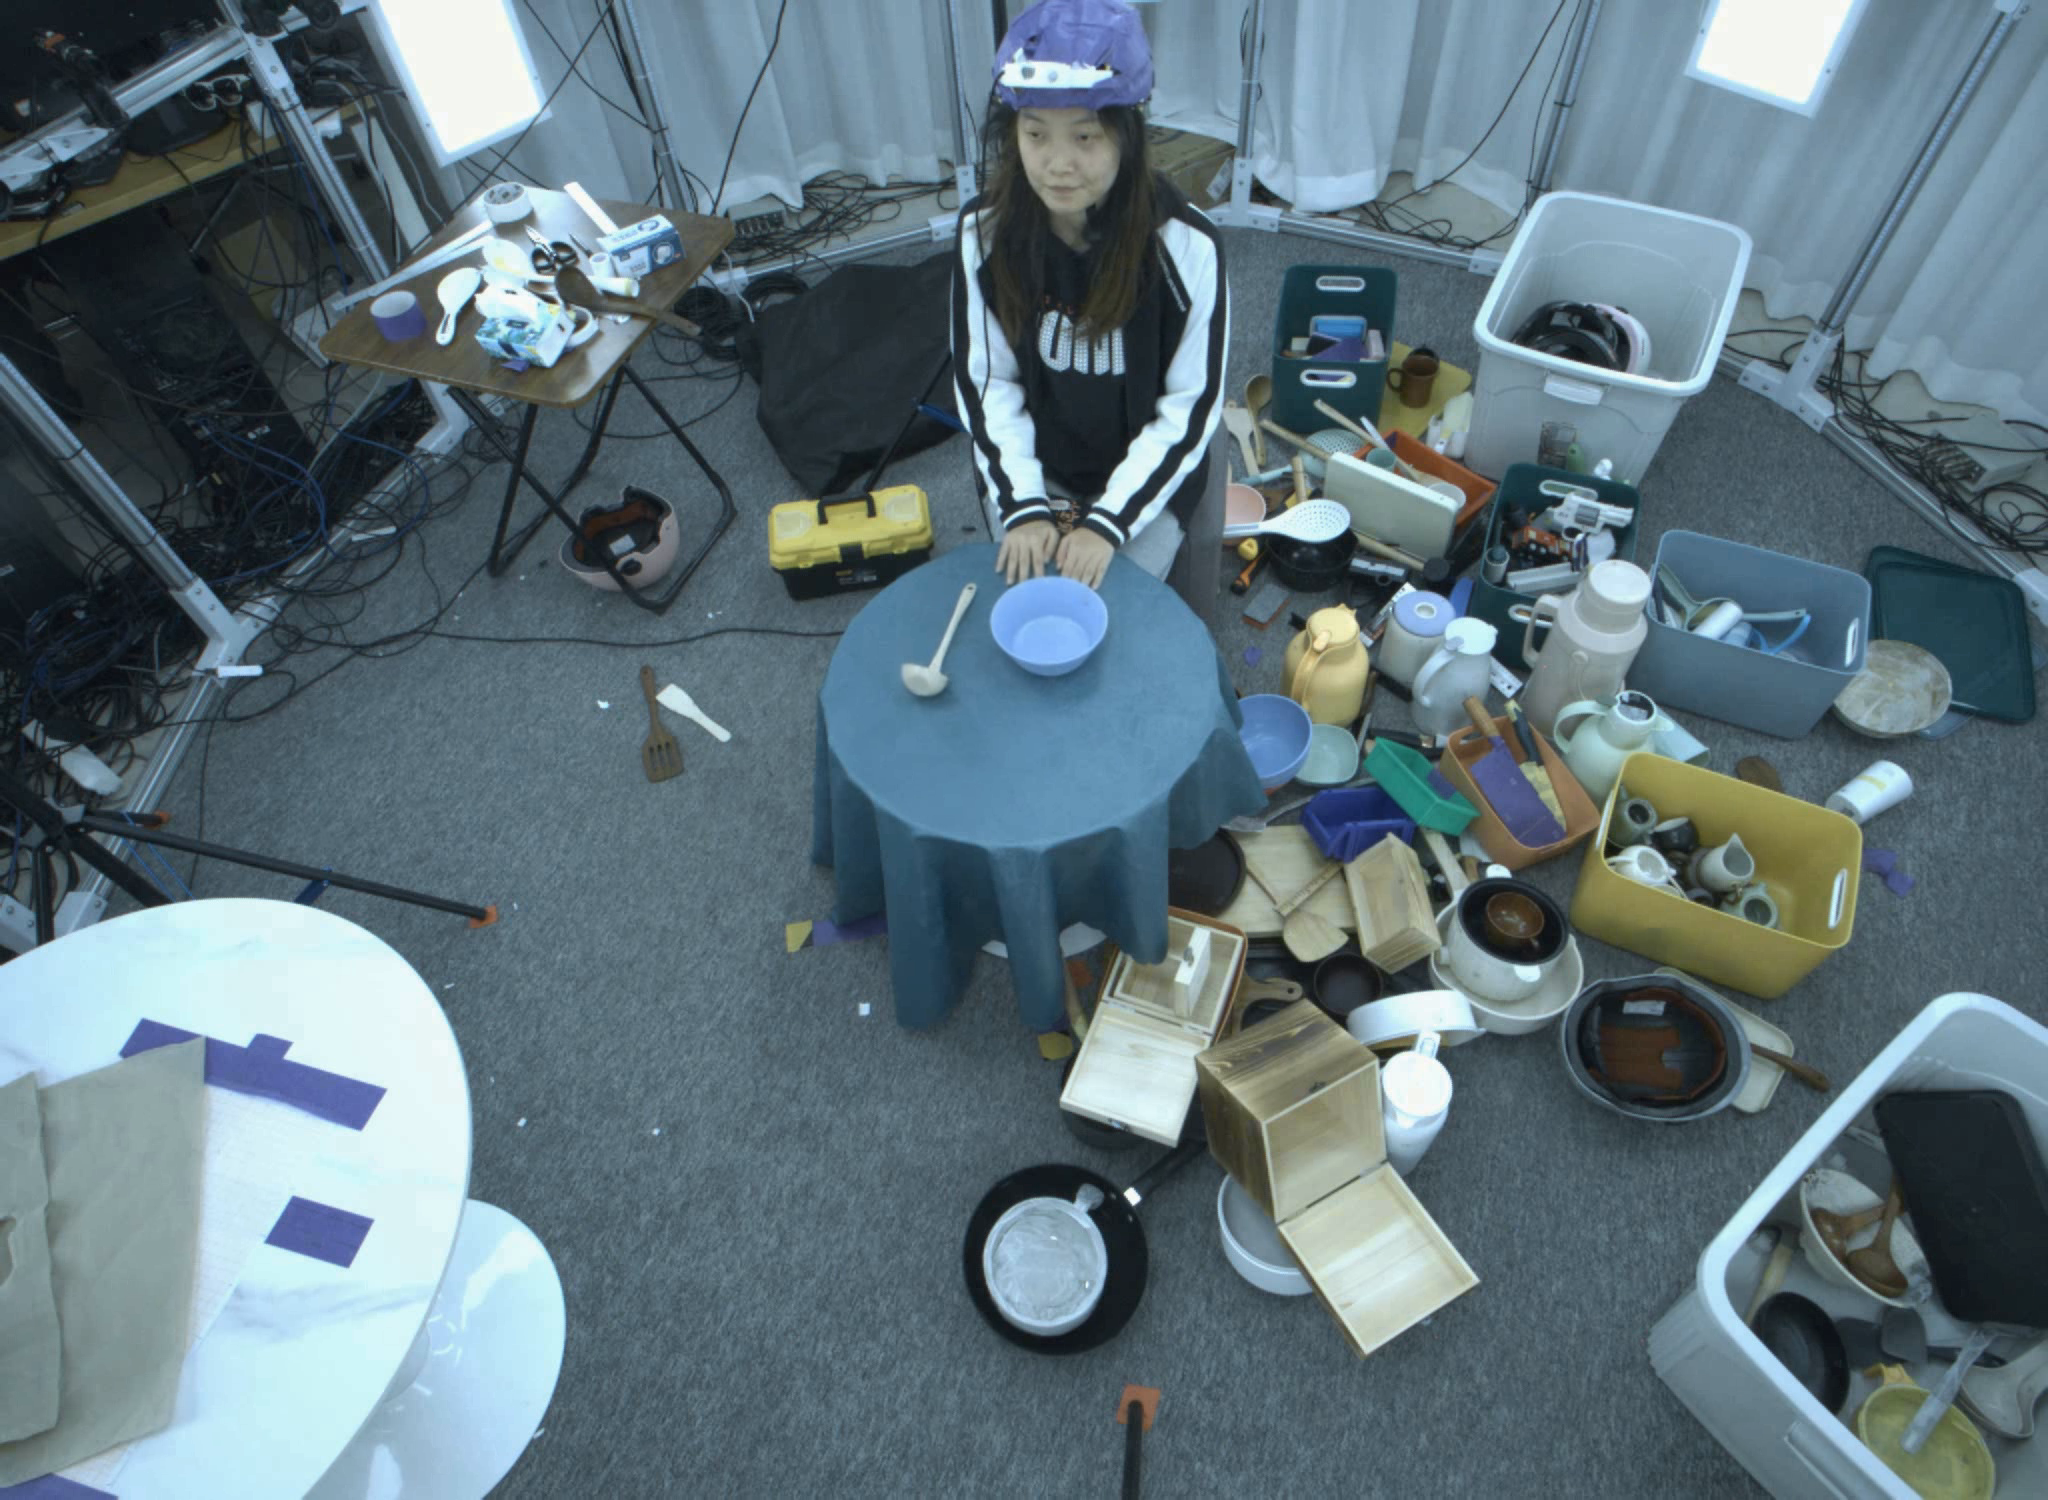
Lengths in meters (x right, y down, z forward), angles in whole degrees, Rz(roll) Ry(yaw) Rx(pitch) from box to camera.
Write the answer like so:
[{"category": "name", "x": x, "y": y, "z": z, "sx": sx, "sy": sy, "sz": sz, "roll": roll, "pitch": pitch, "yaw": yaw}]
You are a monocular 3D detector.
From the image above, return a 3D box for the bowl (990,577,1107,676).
[{"category": "bowl", "x": 0.037, "y": -0.178, "z": 1.870, "sx": 0.176, "sy": 0.071, "sz": 0.174, "roll": 0, "pitch": 56, "yaw": 1}]

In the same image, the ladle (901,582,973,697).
[{"category": "ladle", "x": -0.122, "y": -0.190, "z": 1.881, "sx": 0.072, "sy": 0.073, "sz": 0.253, "roll": 13, "pitch": 56, "yaw": 7}]
